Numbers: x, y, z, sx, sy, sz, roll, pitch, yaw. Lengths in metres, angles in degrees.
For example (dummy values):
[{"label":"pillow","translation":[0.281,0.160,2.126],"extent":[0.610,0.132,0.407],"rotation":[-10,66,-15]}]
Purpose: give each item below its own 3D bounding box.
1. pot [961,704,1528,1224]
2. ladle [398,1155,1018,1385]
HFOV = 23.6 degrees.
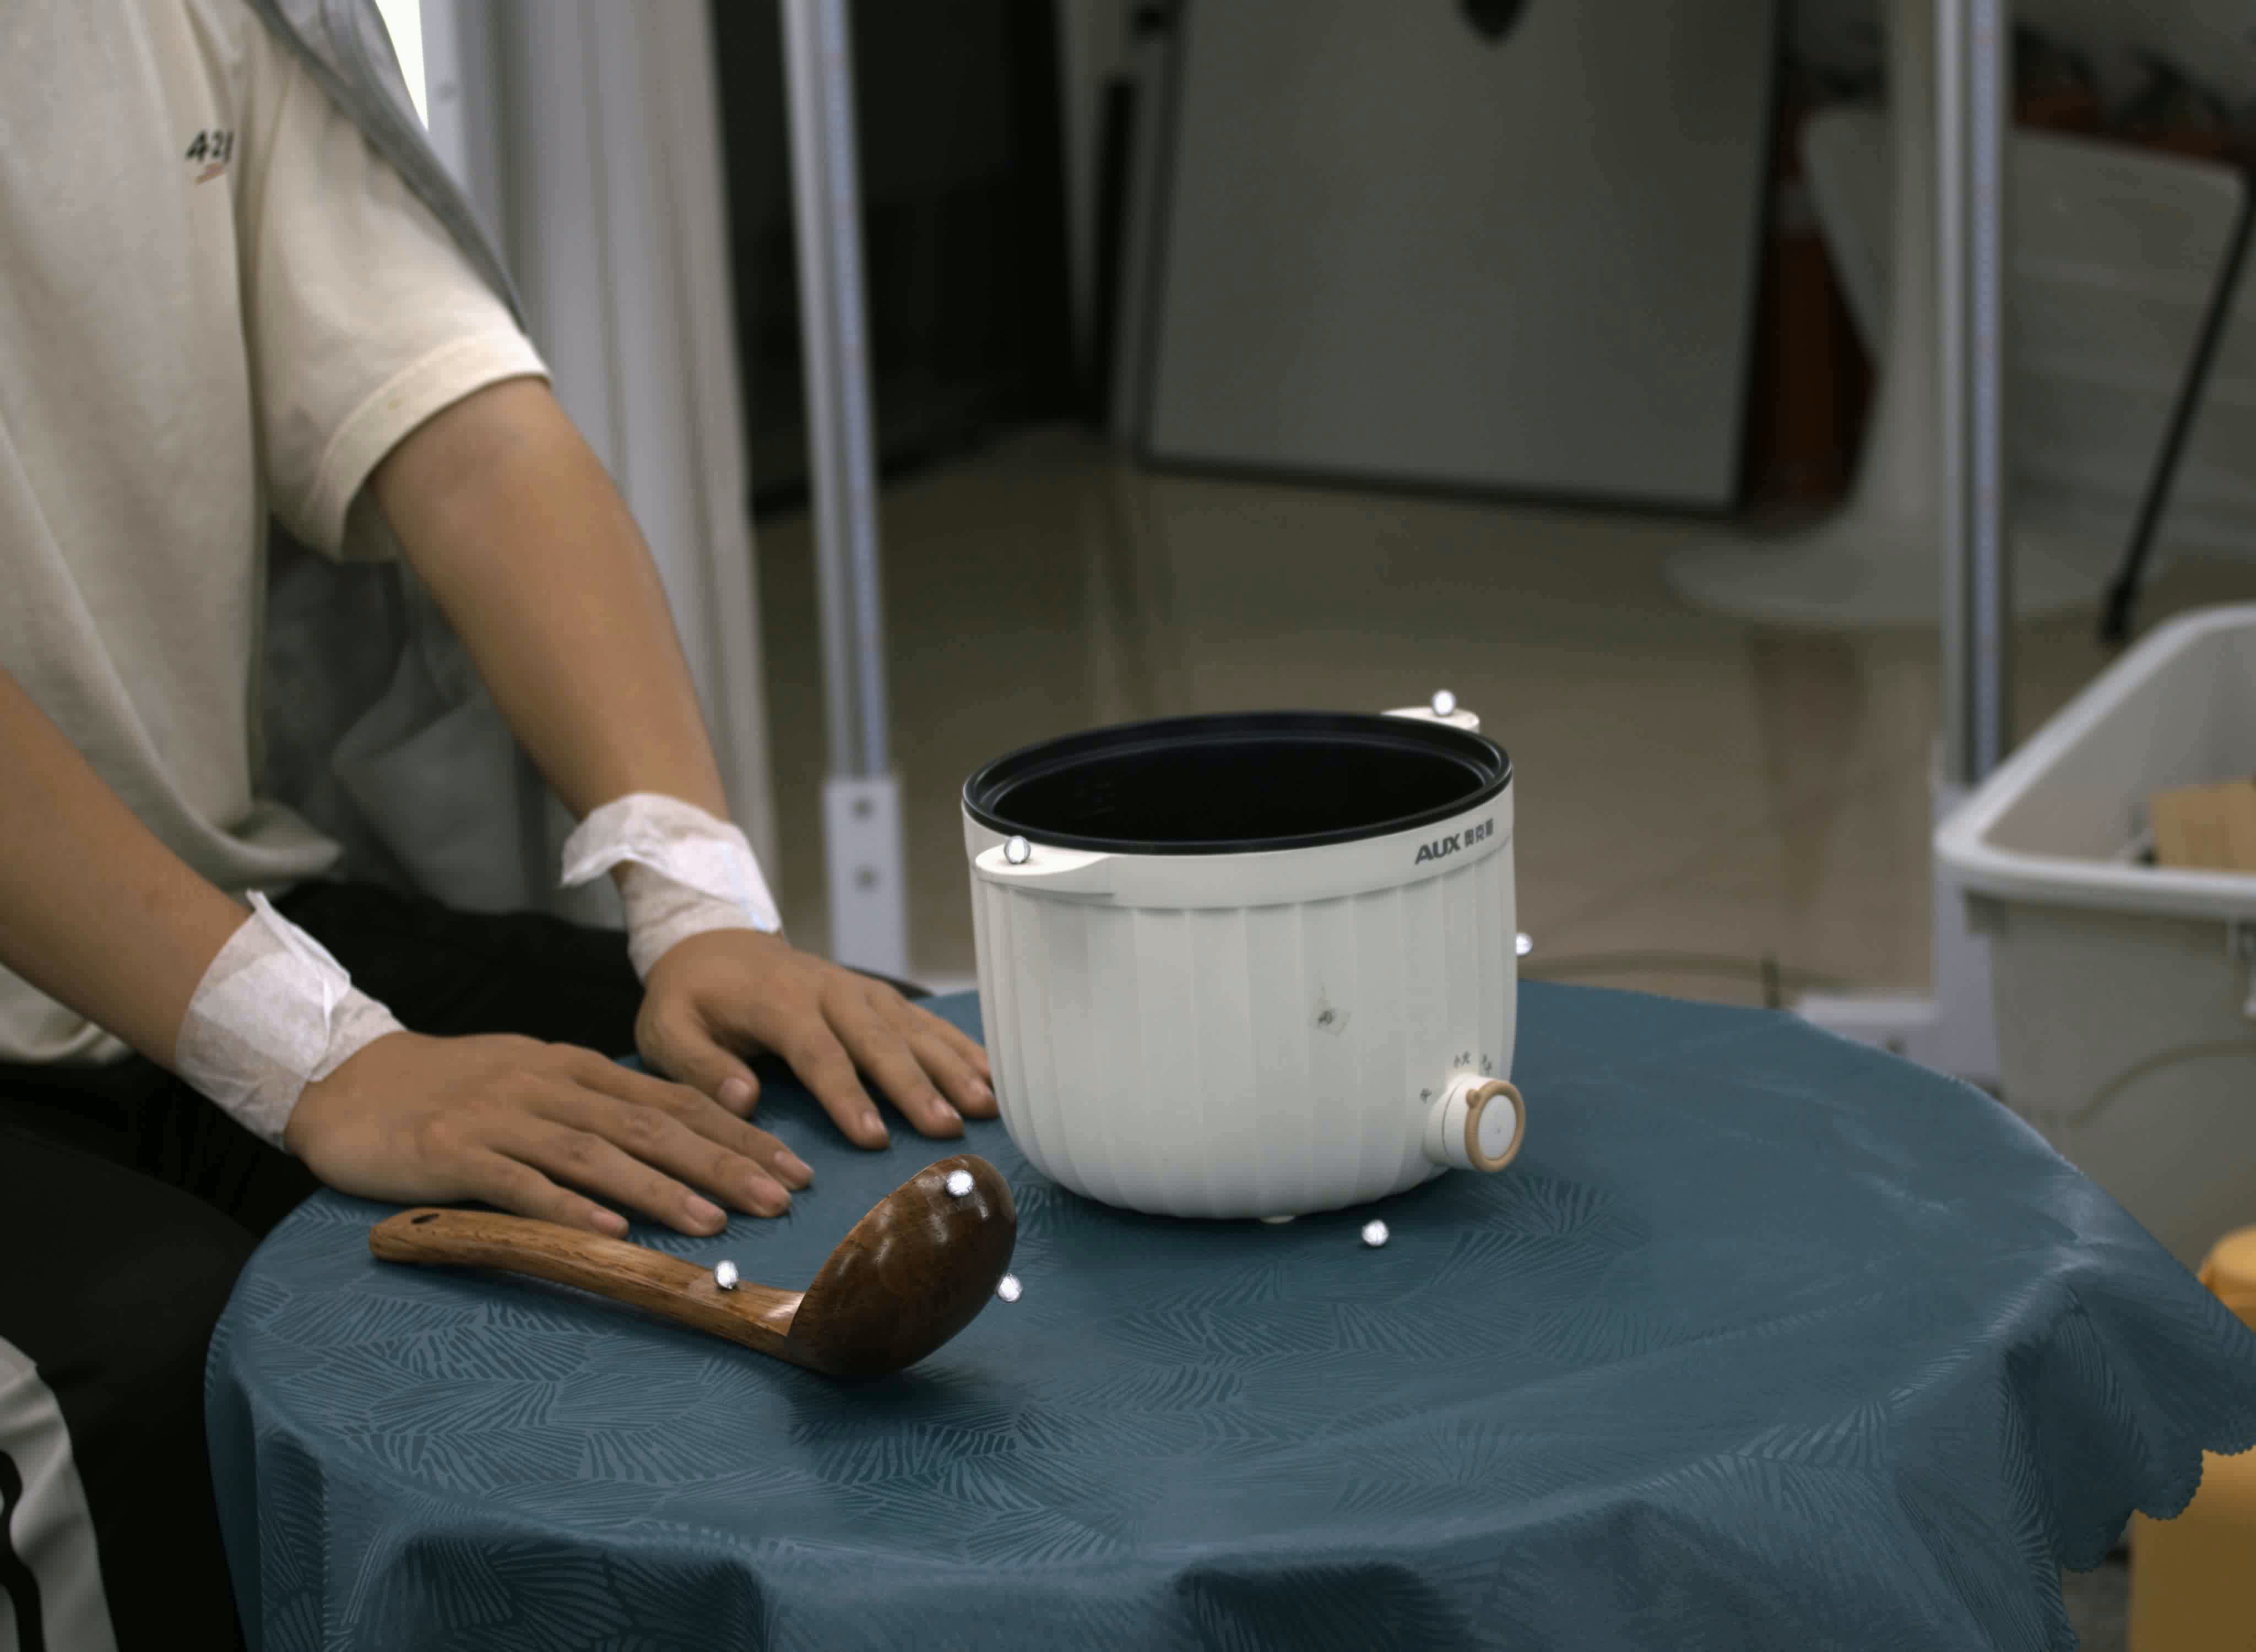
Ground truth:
[{"label":"pot","translation":[0.044,0.047,1.771],"extent":[0.192,0.144,0.236],"rotation":[4,16,41]},{"label":"ladle","translation":[-0.141,0.120,1.664],"extent":[0.080,0.077,0.276],"rotation":[-20,21,-41]}]
